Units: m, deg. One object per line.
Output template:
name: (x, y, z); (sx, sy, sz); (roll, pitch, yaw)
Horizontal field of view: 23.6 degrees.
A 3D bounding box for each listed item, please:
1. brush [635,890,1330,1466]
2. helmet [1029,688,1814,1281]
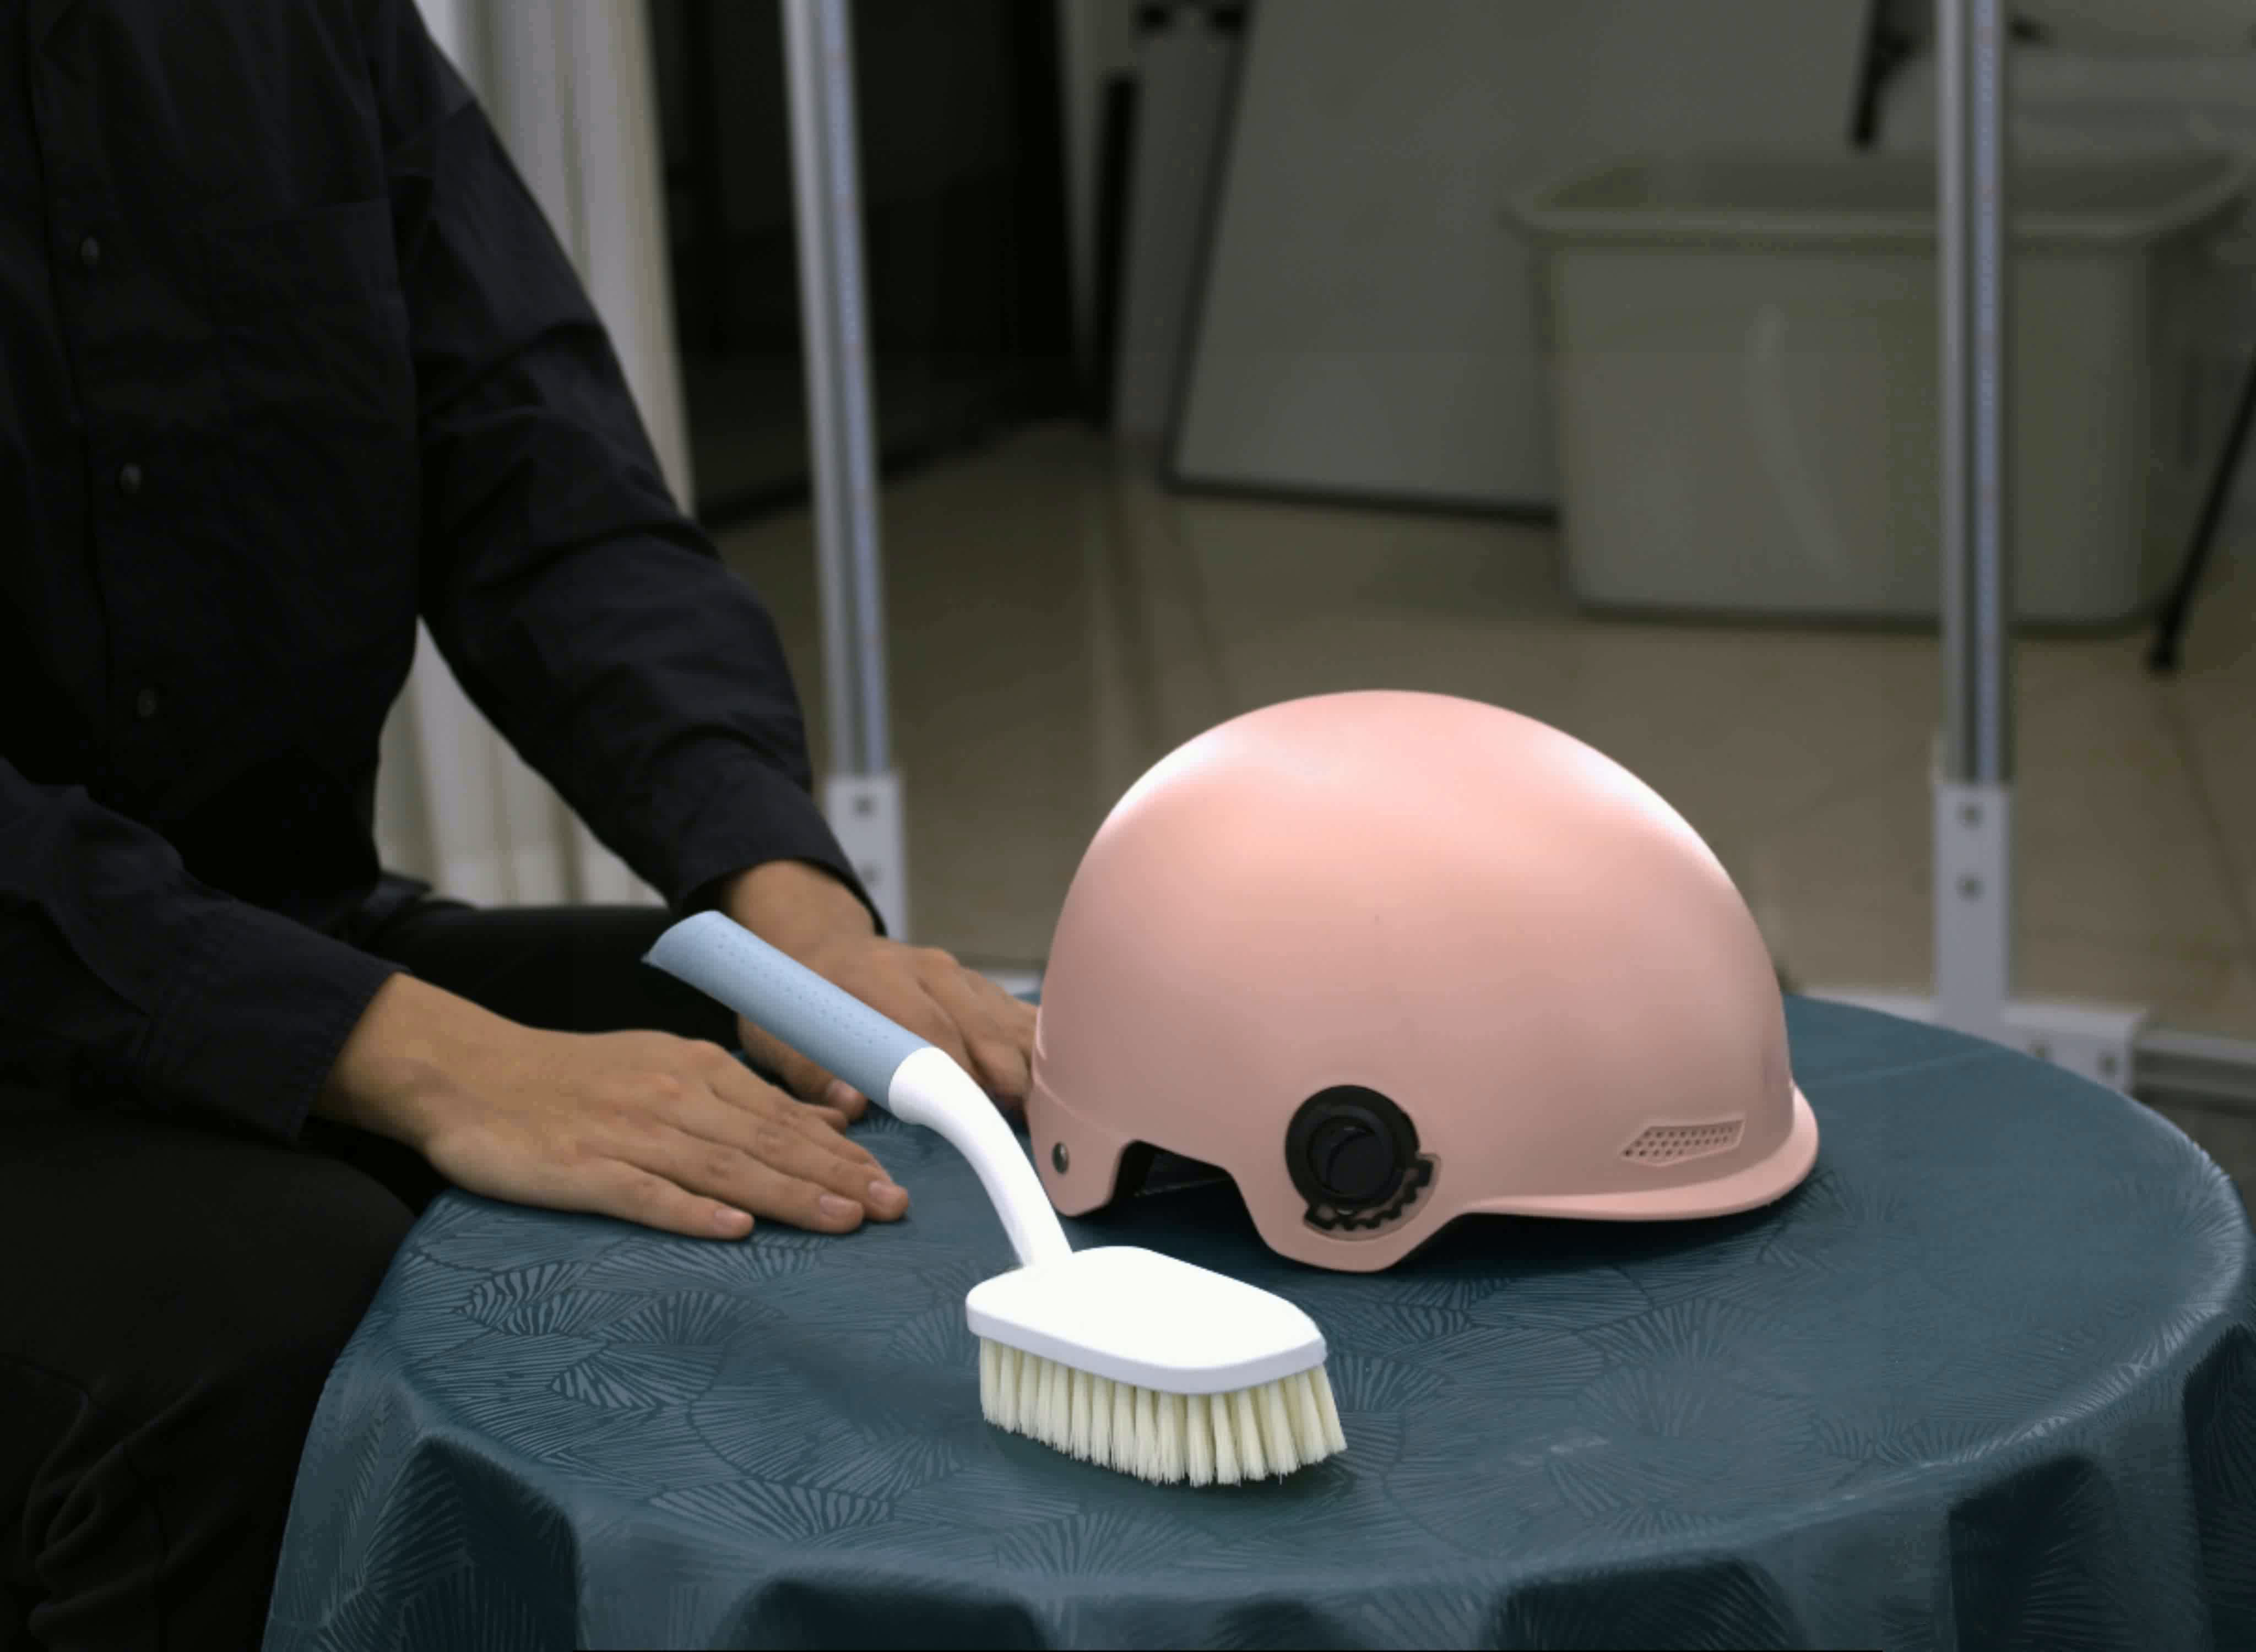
brush: (-0.049, 0.118, 1.621); (0.329, 0.085, 0.082); (29, -3, 45)
helmet: (0.097, 0.040, 1.758); (0.266, 0.161, 0.230); (8, 17, 27)
